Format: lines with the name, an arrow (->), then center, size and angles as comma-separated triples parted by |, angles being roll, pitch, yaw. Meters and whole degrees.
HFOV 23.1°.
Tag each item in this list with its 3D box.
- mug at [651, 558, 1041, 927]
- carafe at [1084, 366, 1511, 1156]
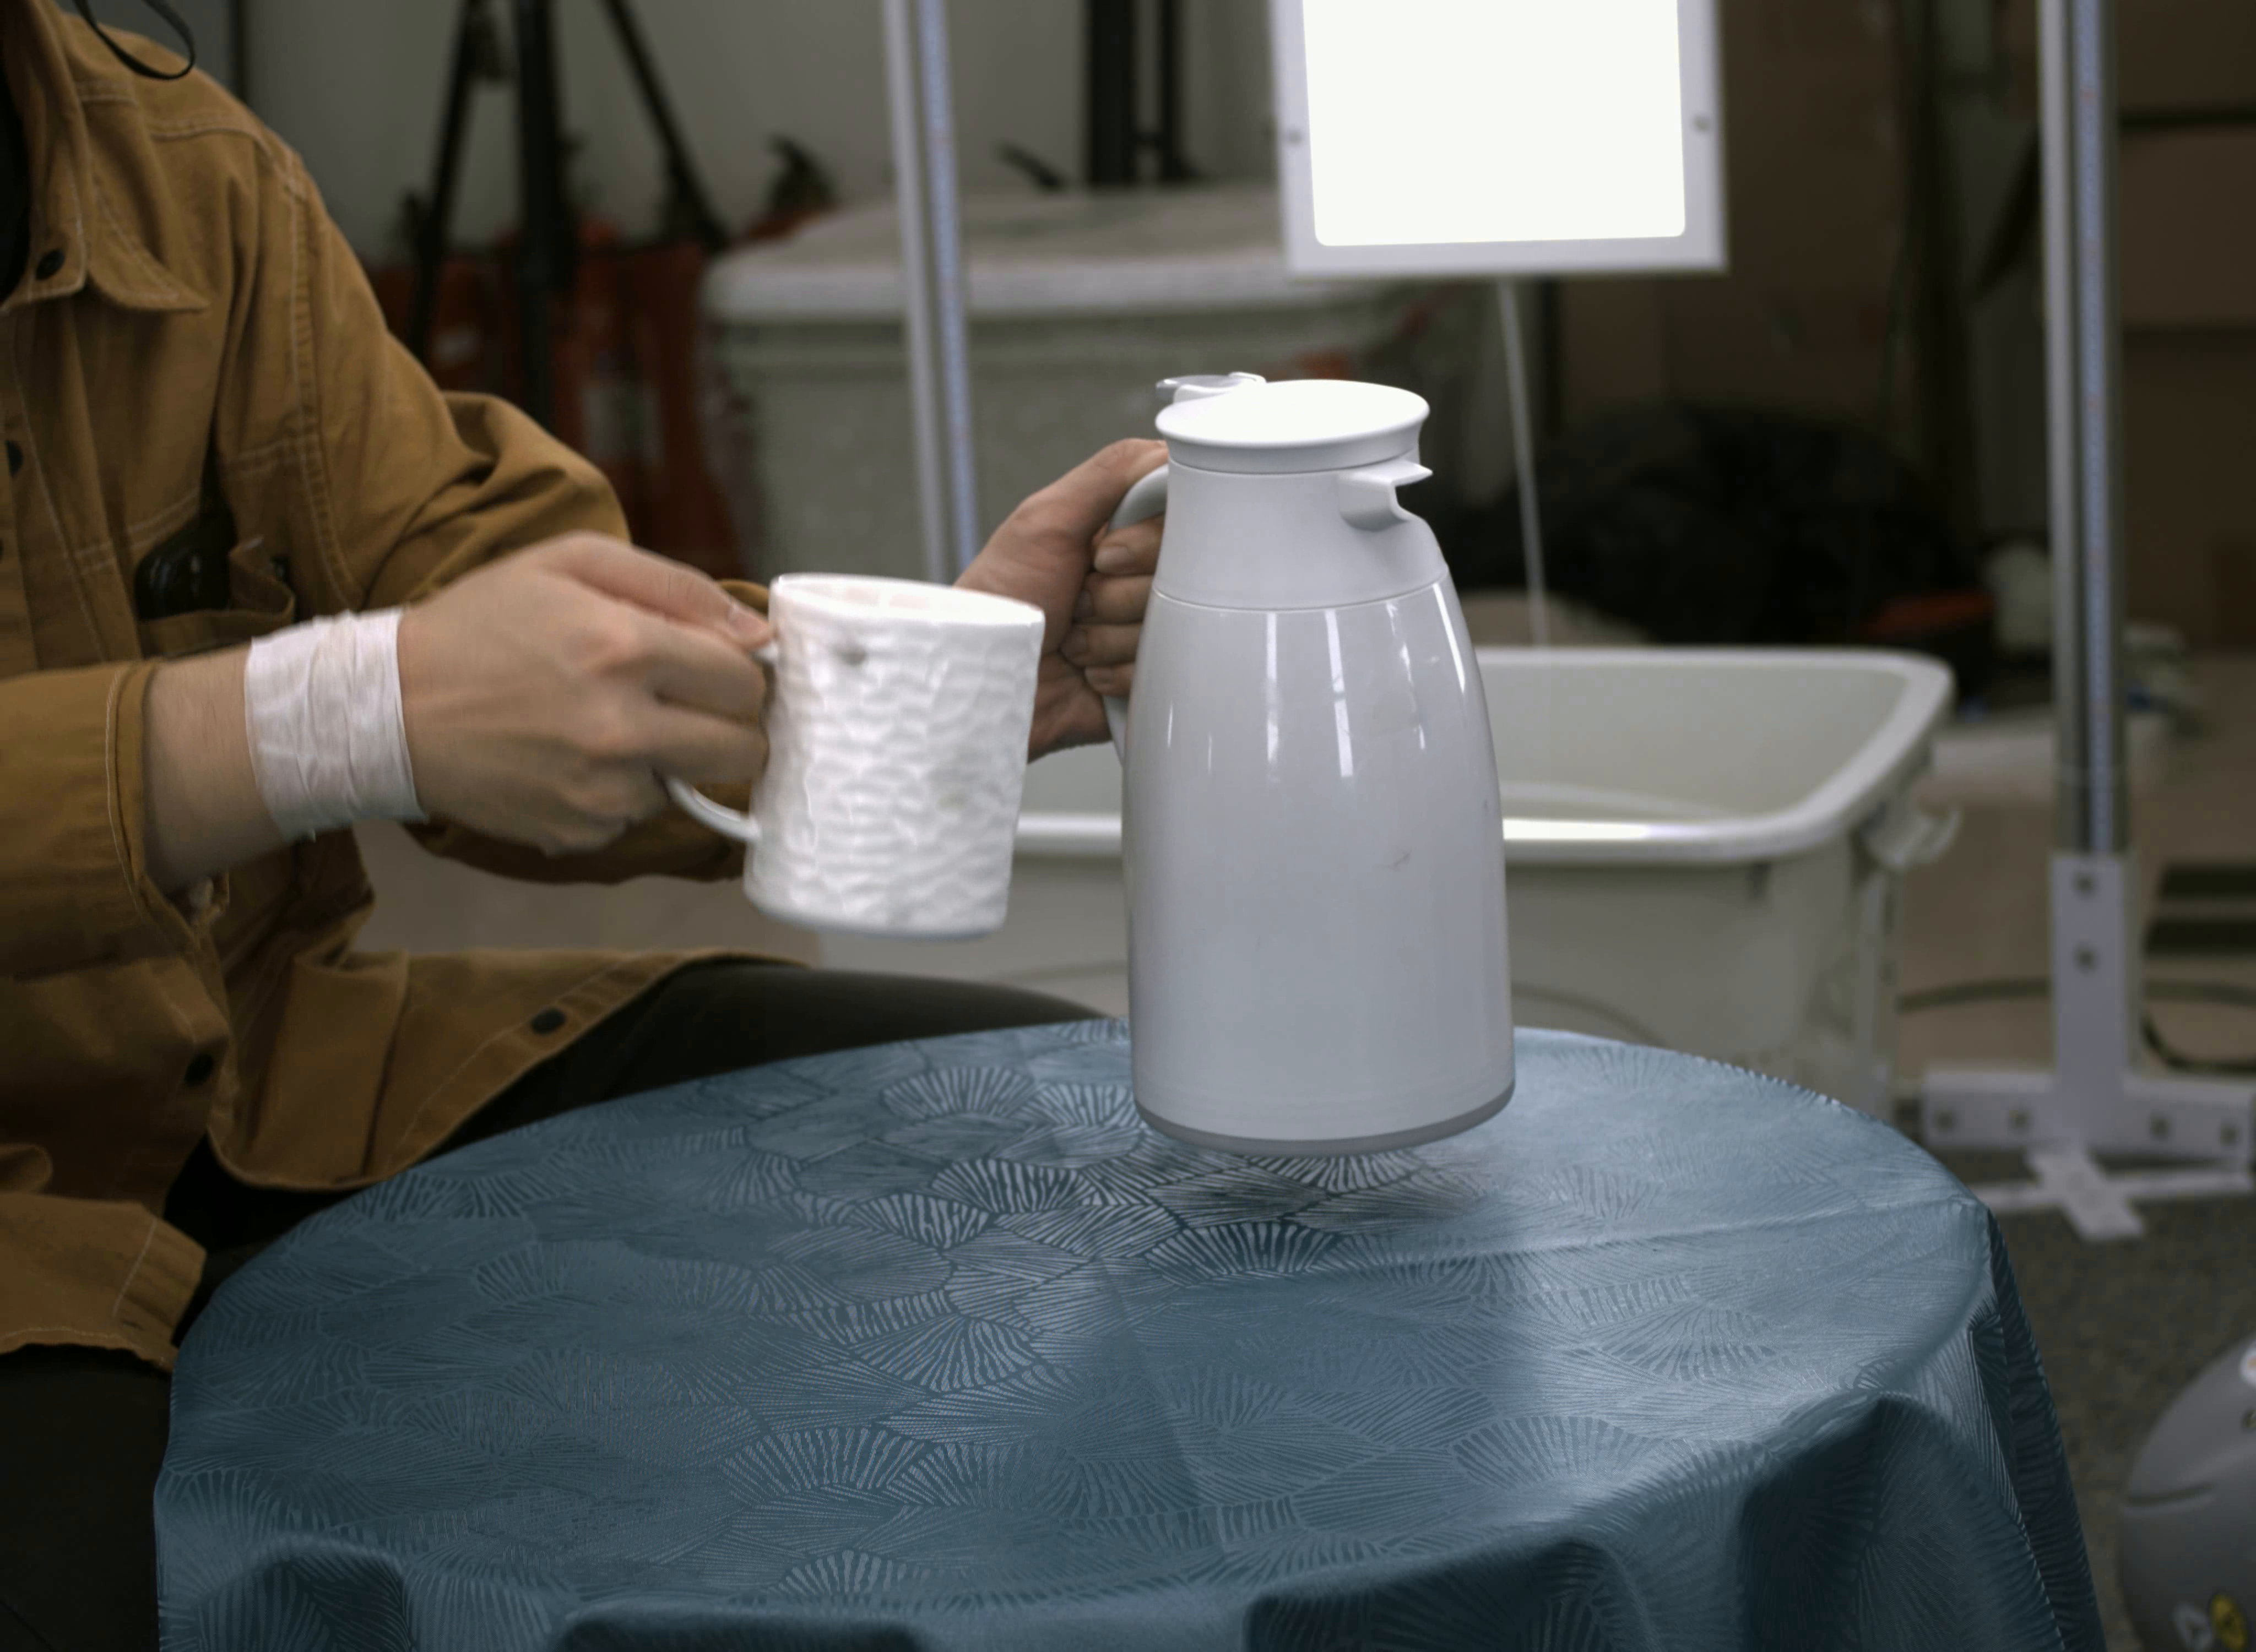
mug -> -0.090, -0.027, 1.707 | 0.116, 0.102, 0.086 | 4, 9, -19
carafe -> 0.046, -0.030, 1.866 | 0.129, 0.249, 0.171 | -16, 20, -35
